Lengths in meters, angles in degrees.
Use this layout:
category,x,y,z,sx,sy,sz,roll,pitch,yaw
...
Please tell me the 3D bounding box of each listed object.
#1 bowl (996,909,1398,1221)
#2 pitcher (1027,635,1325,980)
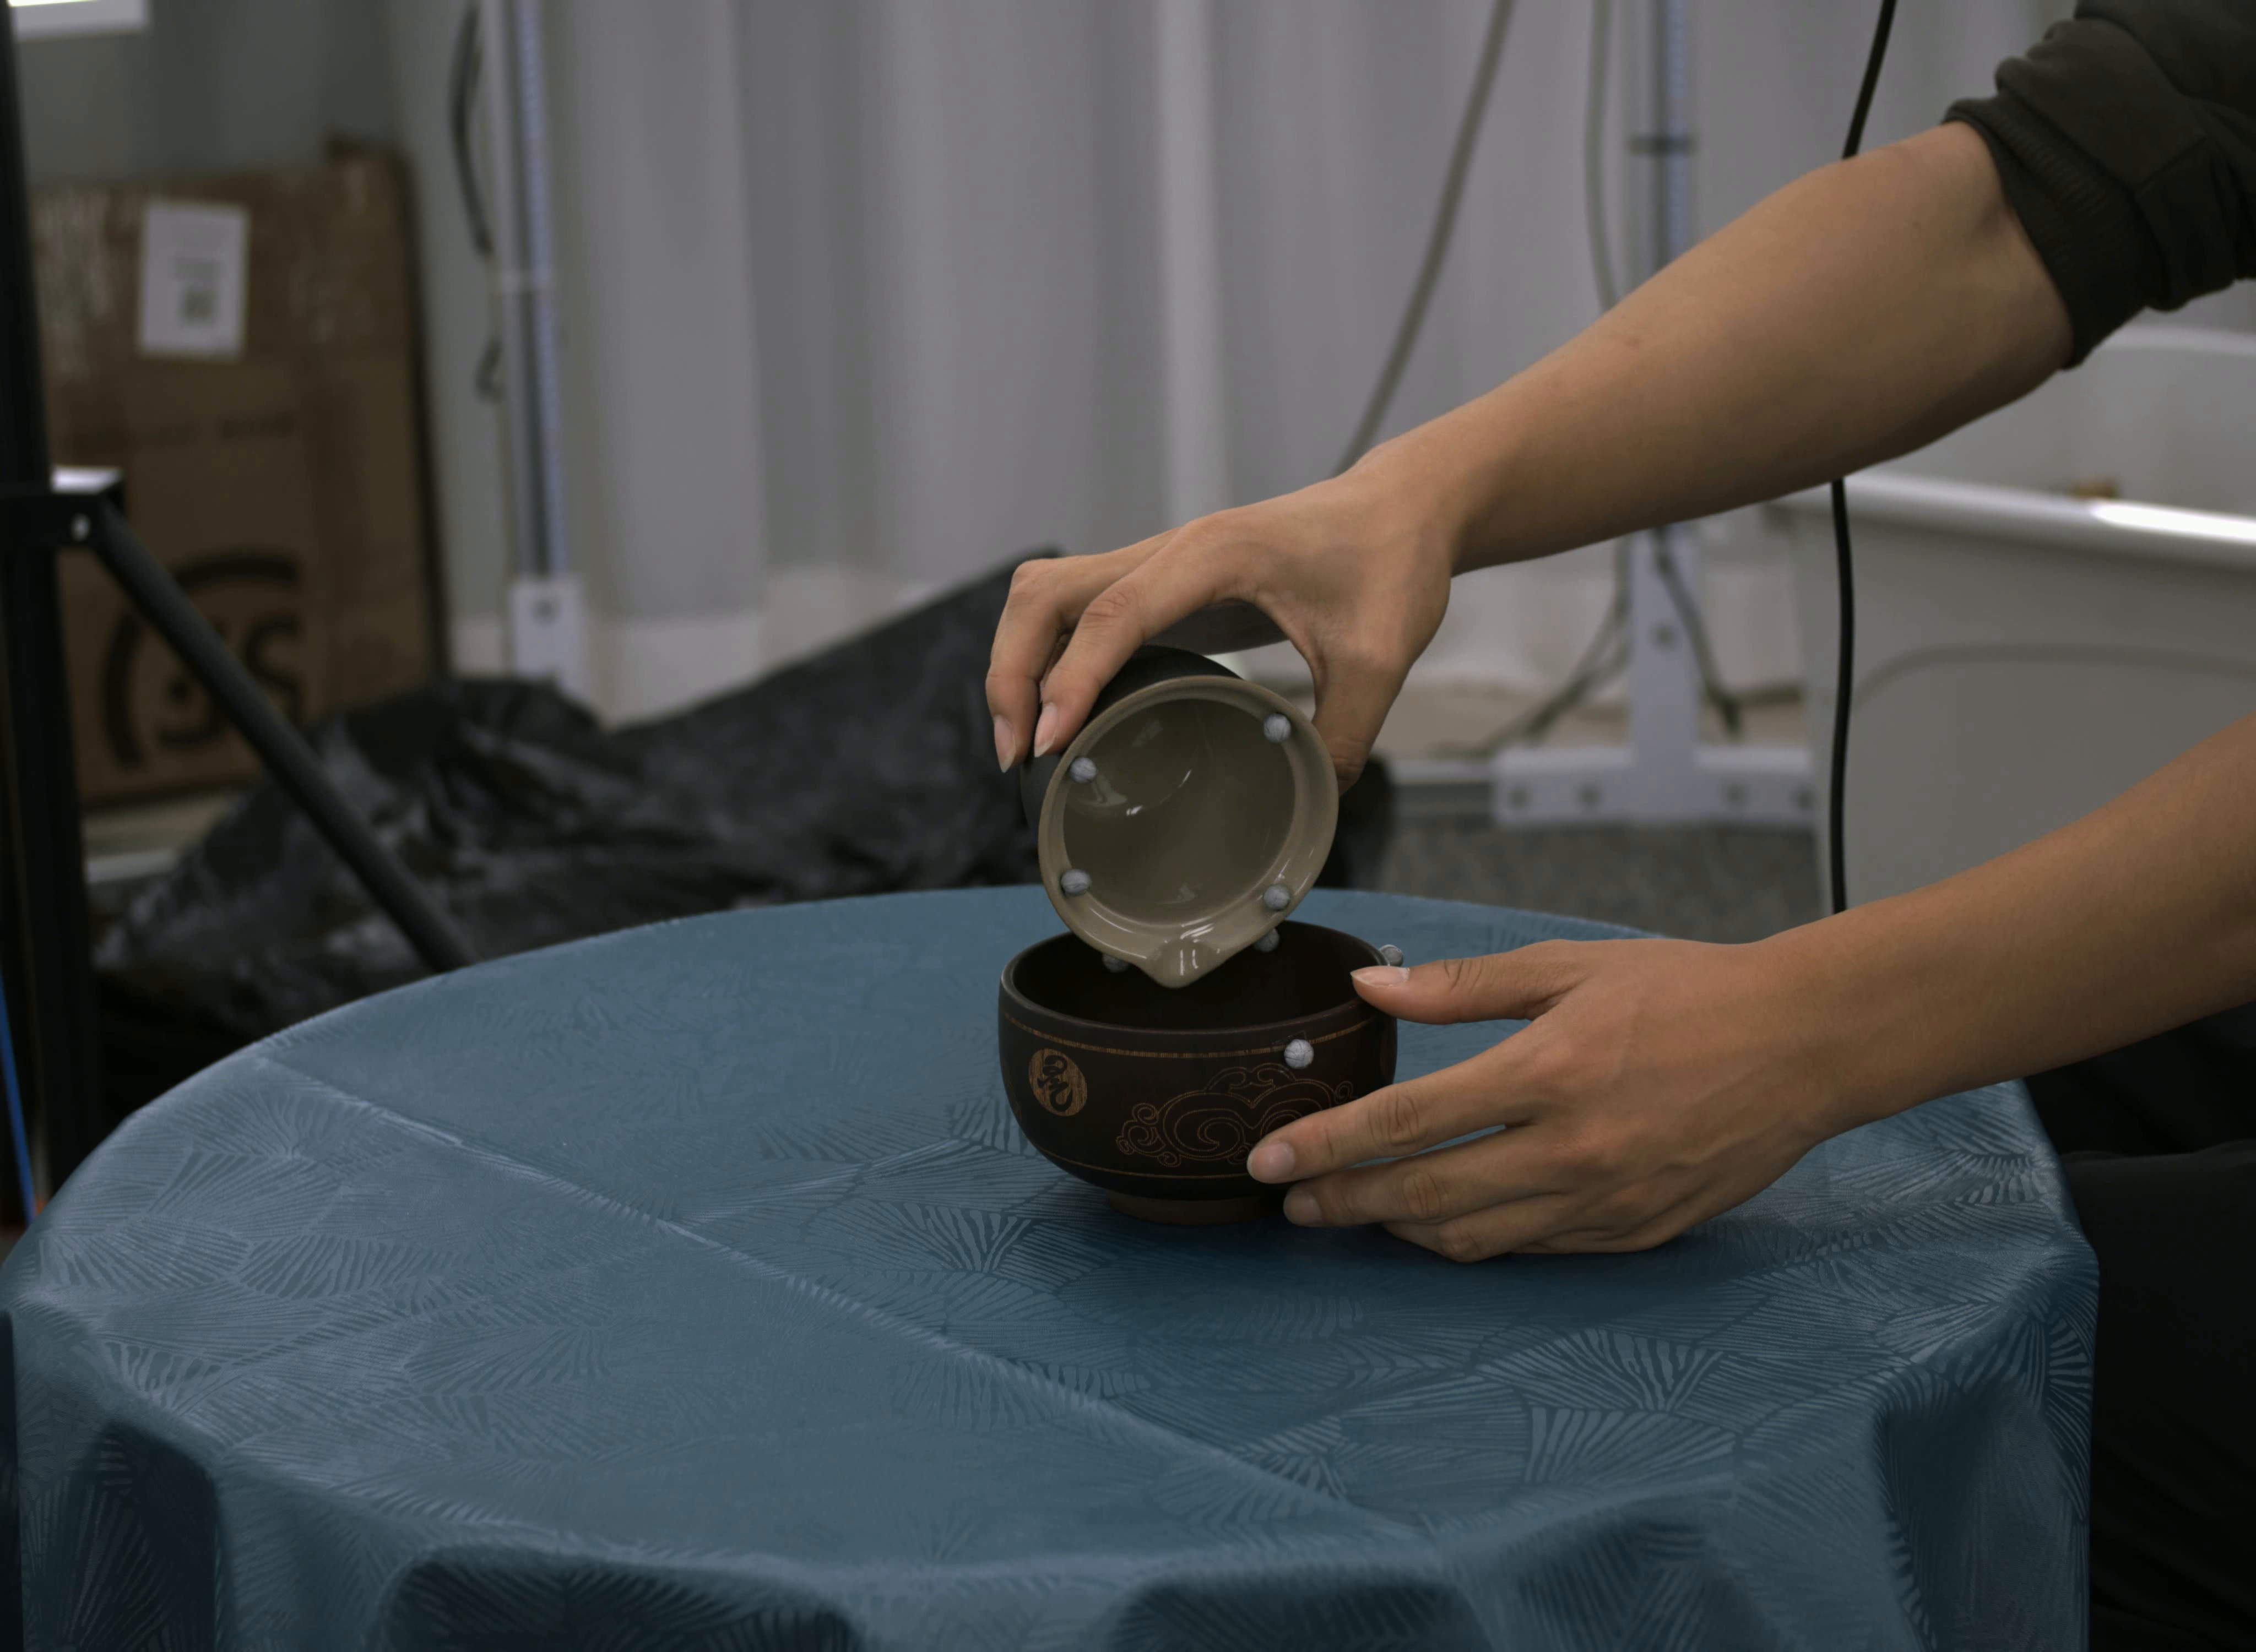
category,x,y,z,sx,sy,sz,roll,pitch,yaw
bowl,0.021,0.073,1.549,0.117,0.070,0.118,-5,15,0
pitcher,0.008,-0.012,1.572,0.082,0.096,0.073,1,25,-21
